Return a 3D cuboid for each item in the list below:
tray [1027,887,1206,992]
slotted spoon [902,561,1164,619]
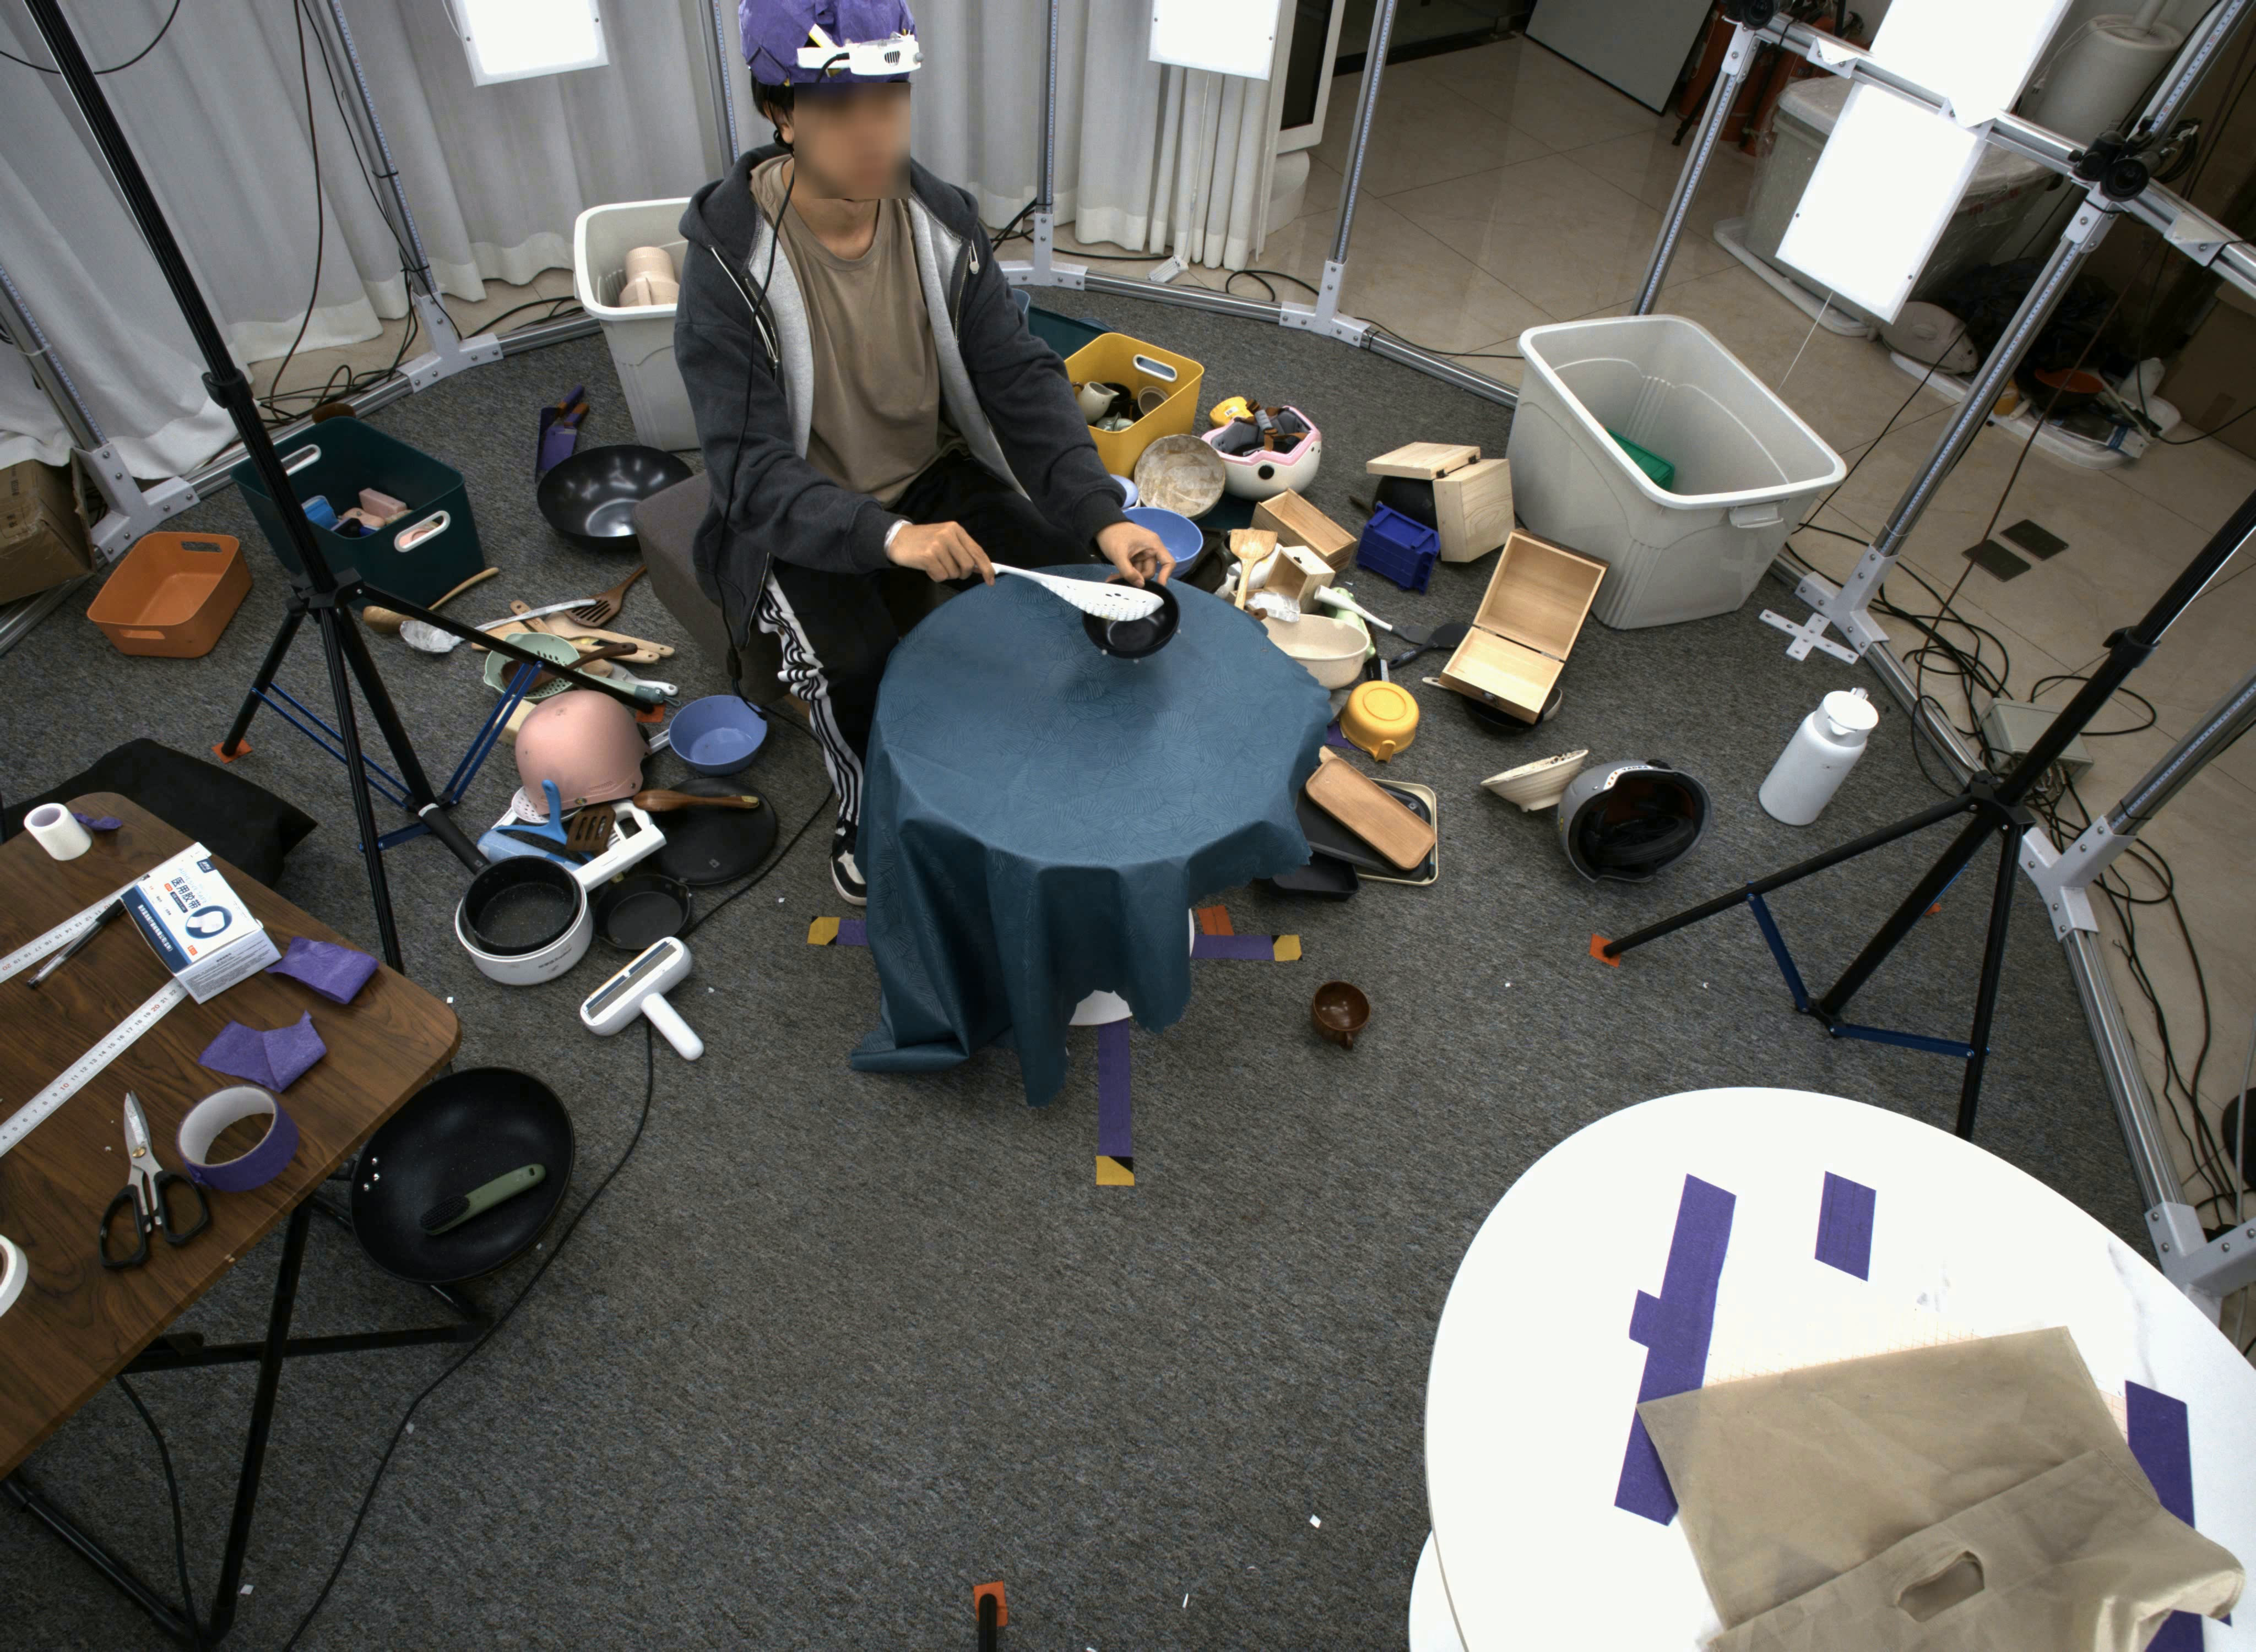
[{"bbox_3d":[-0.019,0.194,2.202,0.300,0.027,0.196,3,49,-3],"label":"tray"},{"bbox_3d":[-0.124,-0.325,1.723,0.347,0.050,0.137,13,5,-5],"label":"slotted spoon"}]
